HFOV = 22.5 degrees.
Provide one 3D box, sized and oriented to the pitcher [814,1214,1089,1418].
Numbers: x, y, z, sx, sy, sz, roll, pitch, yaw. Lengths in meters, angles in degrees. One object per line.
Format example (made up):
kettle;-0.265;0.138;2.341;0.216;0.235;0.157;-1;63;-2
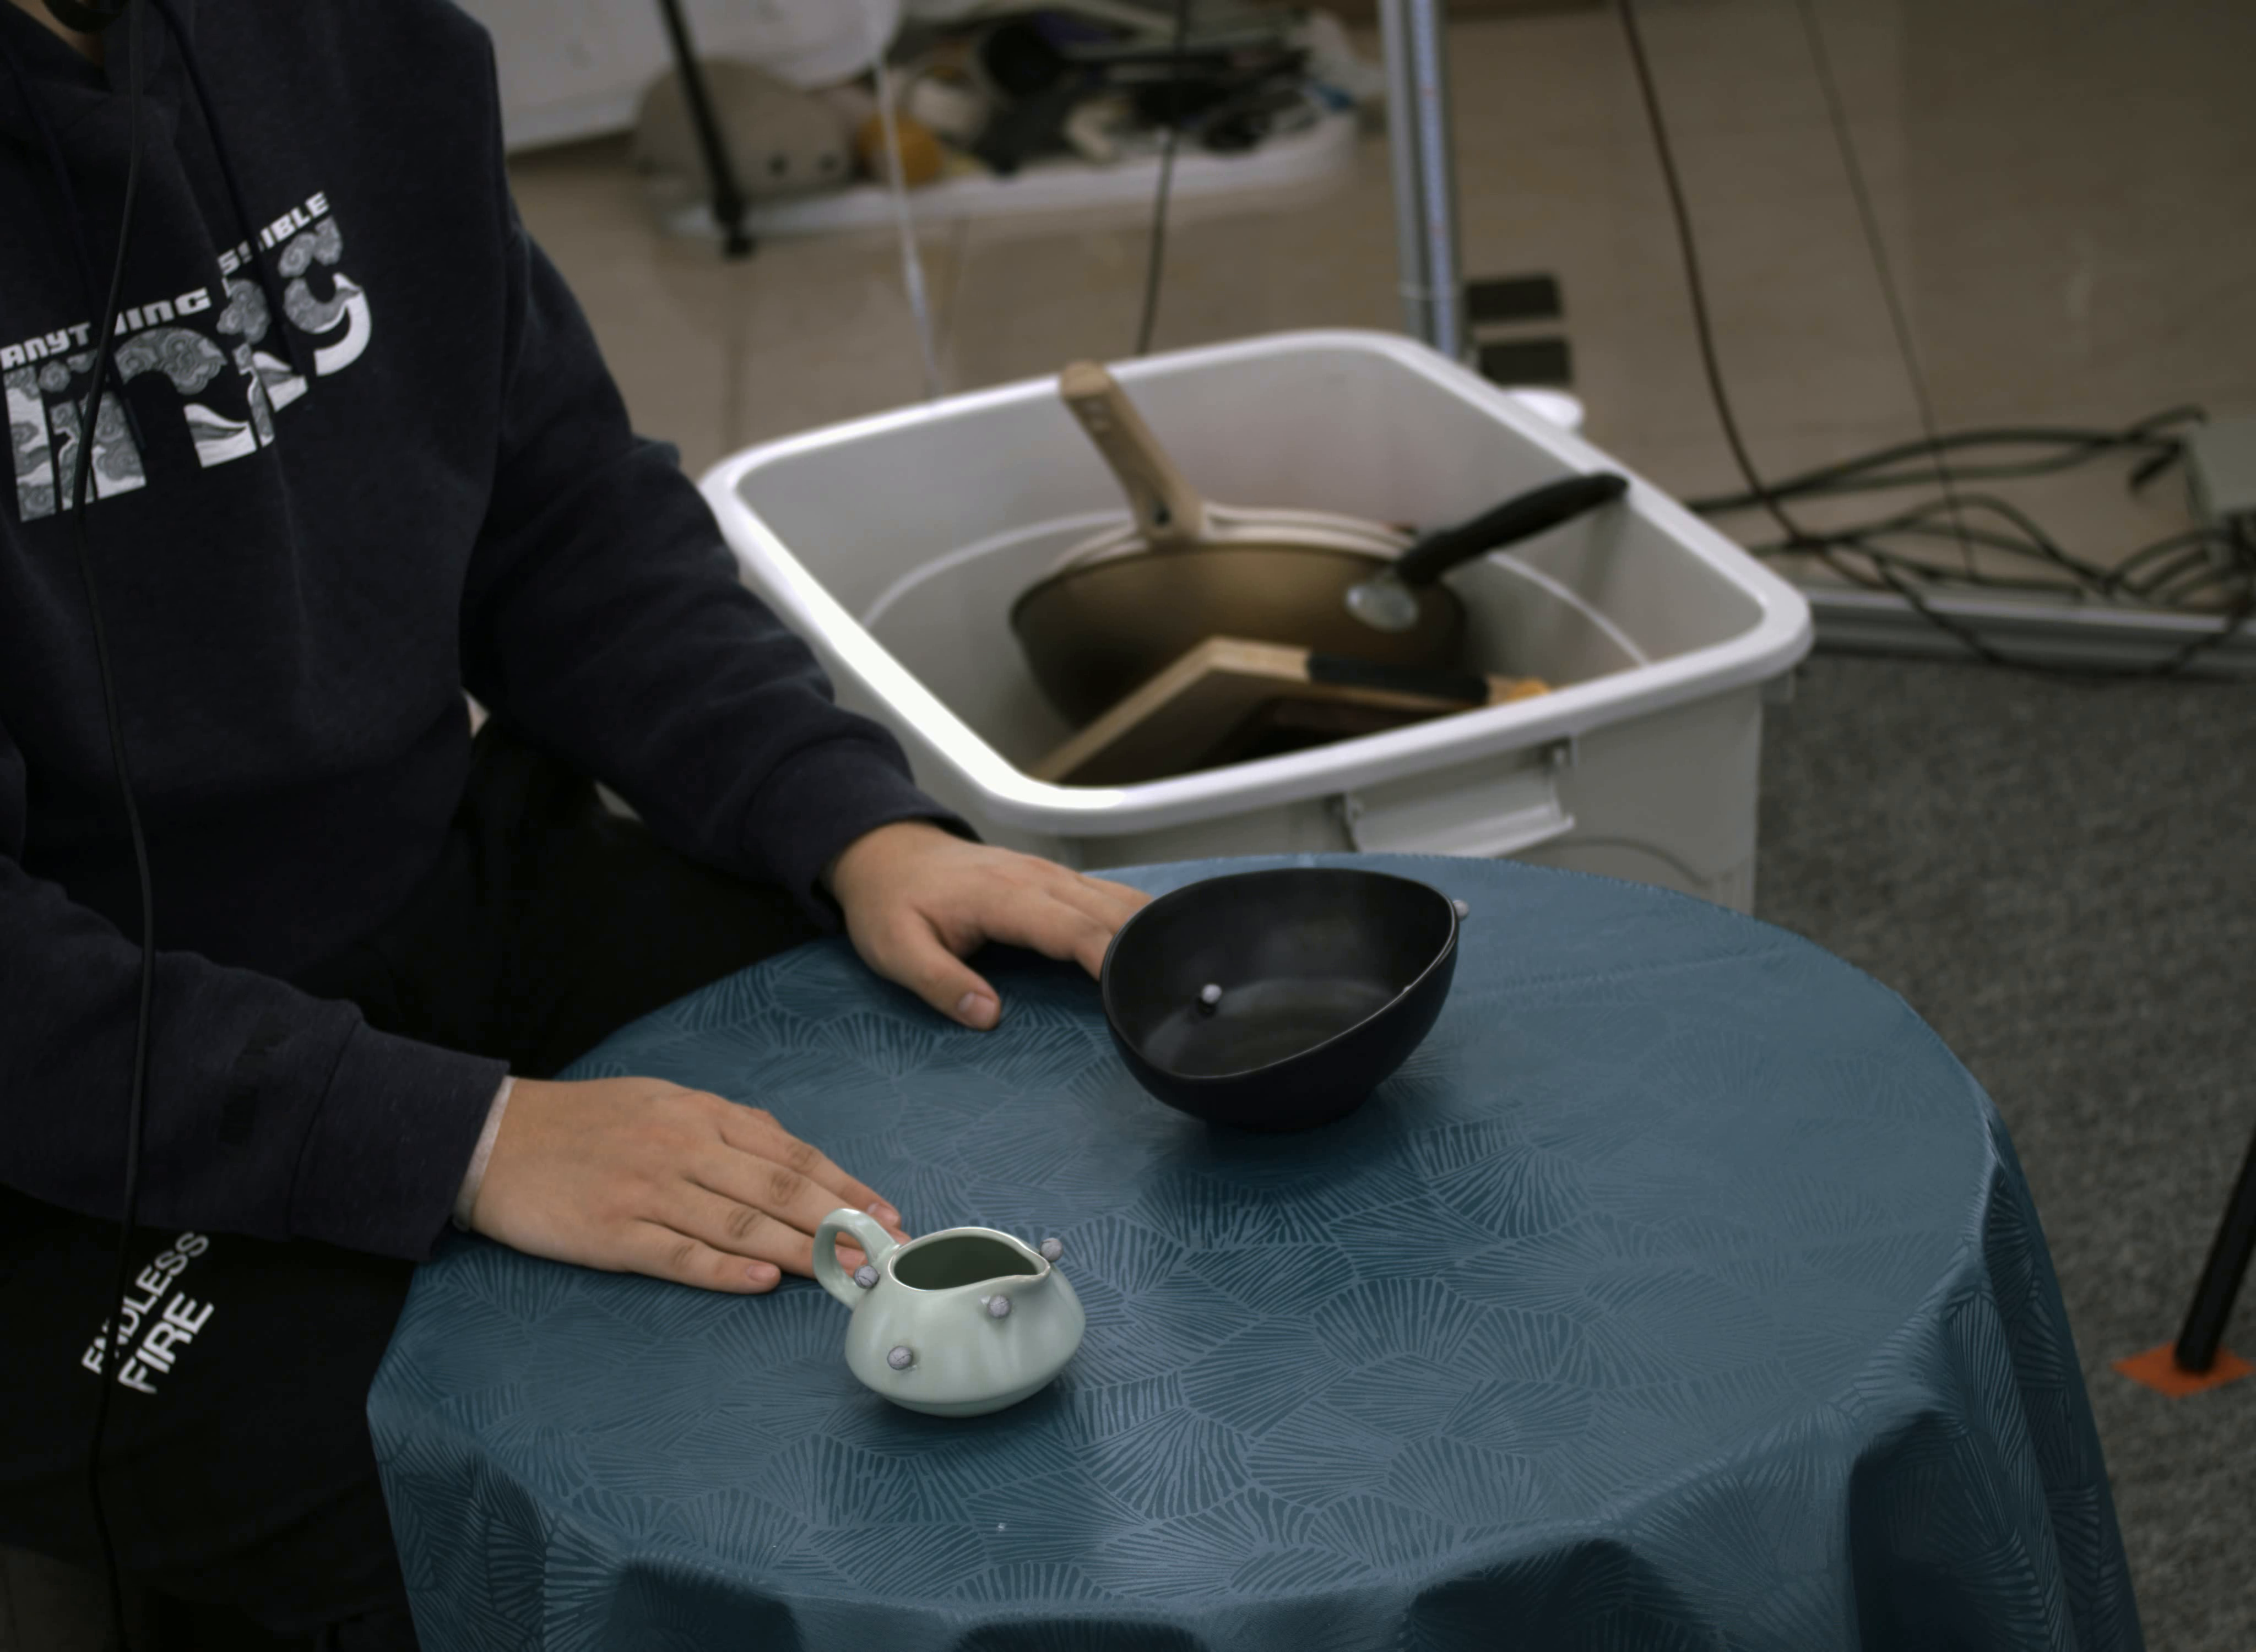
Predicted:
pitcher;-0.067;0.173;2.024;0.107;0.061;0.085;9;28;34

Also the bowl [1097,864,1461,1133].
bowl;0.061;0.075;2.197;0.137;0.068;0.168;3;27;22
